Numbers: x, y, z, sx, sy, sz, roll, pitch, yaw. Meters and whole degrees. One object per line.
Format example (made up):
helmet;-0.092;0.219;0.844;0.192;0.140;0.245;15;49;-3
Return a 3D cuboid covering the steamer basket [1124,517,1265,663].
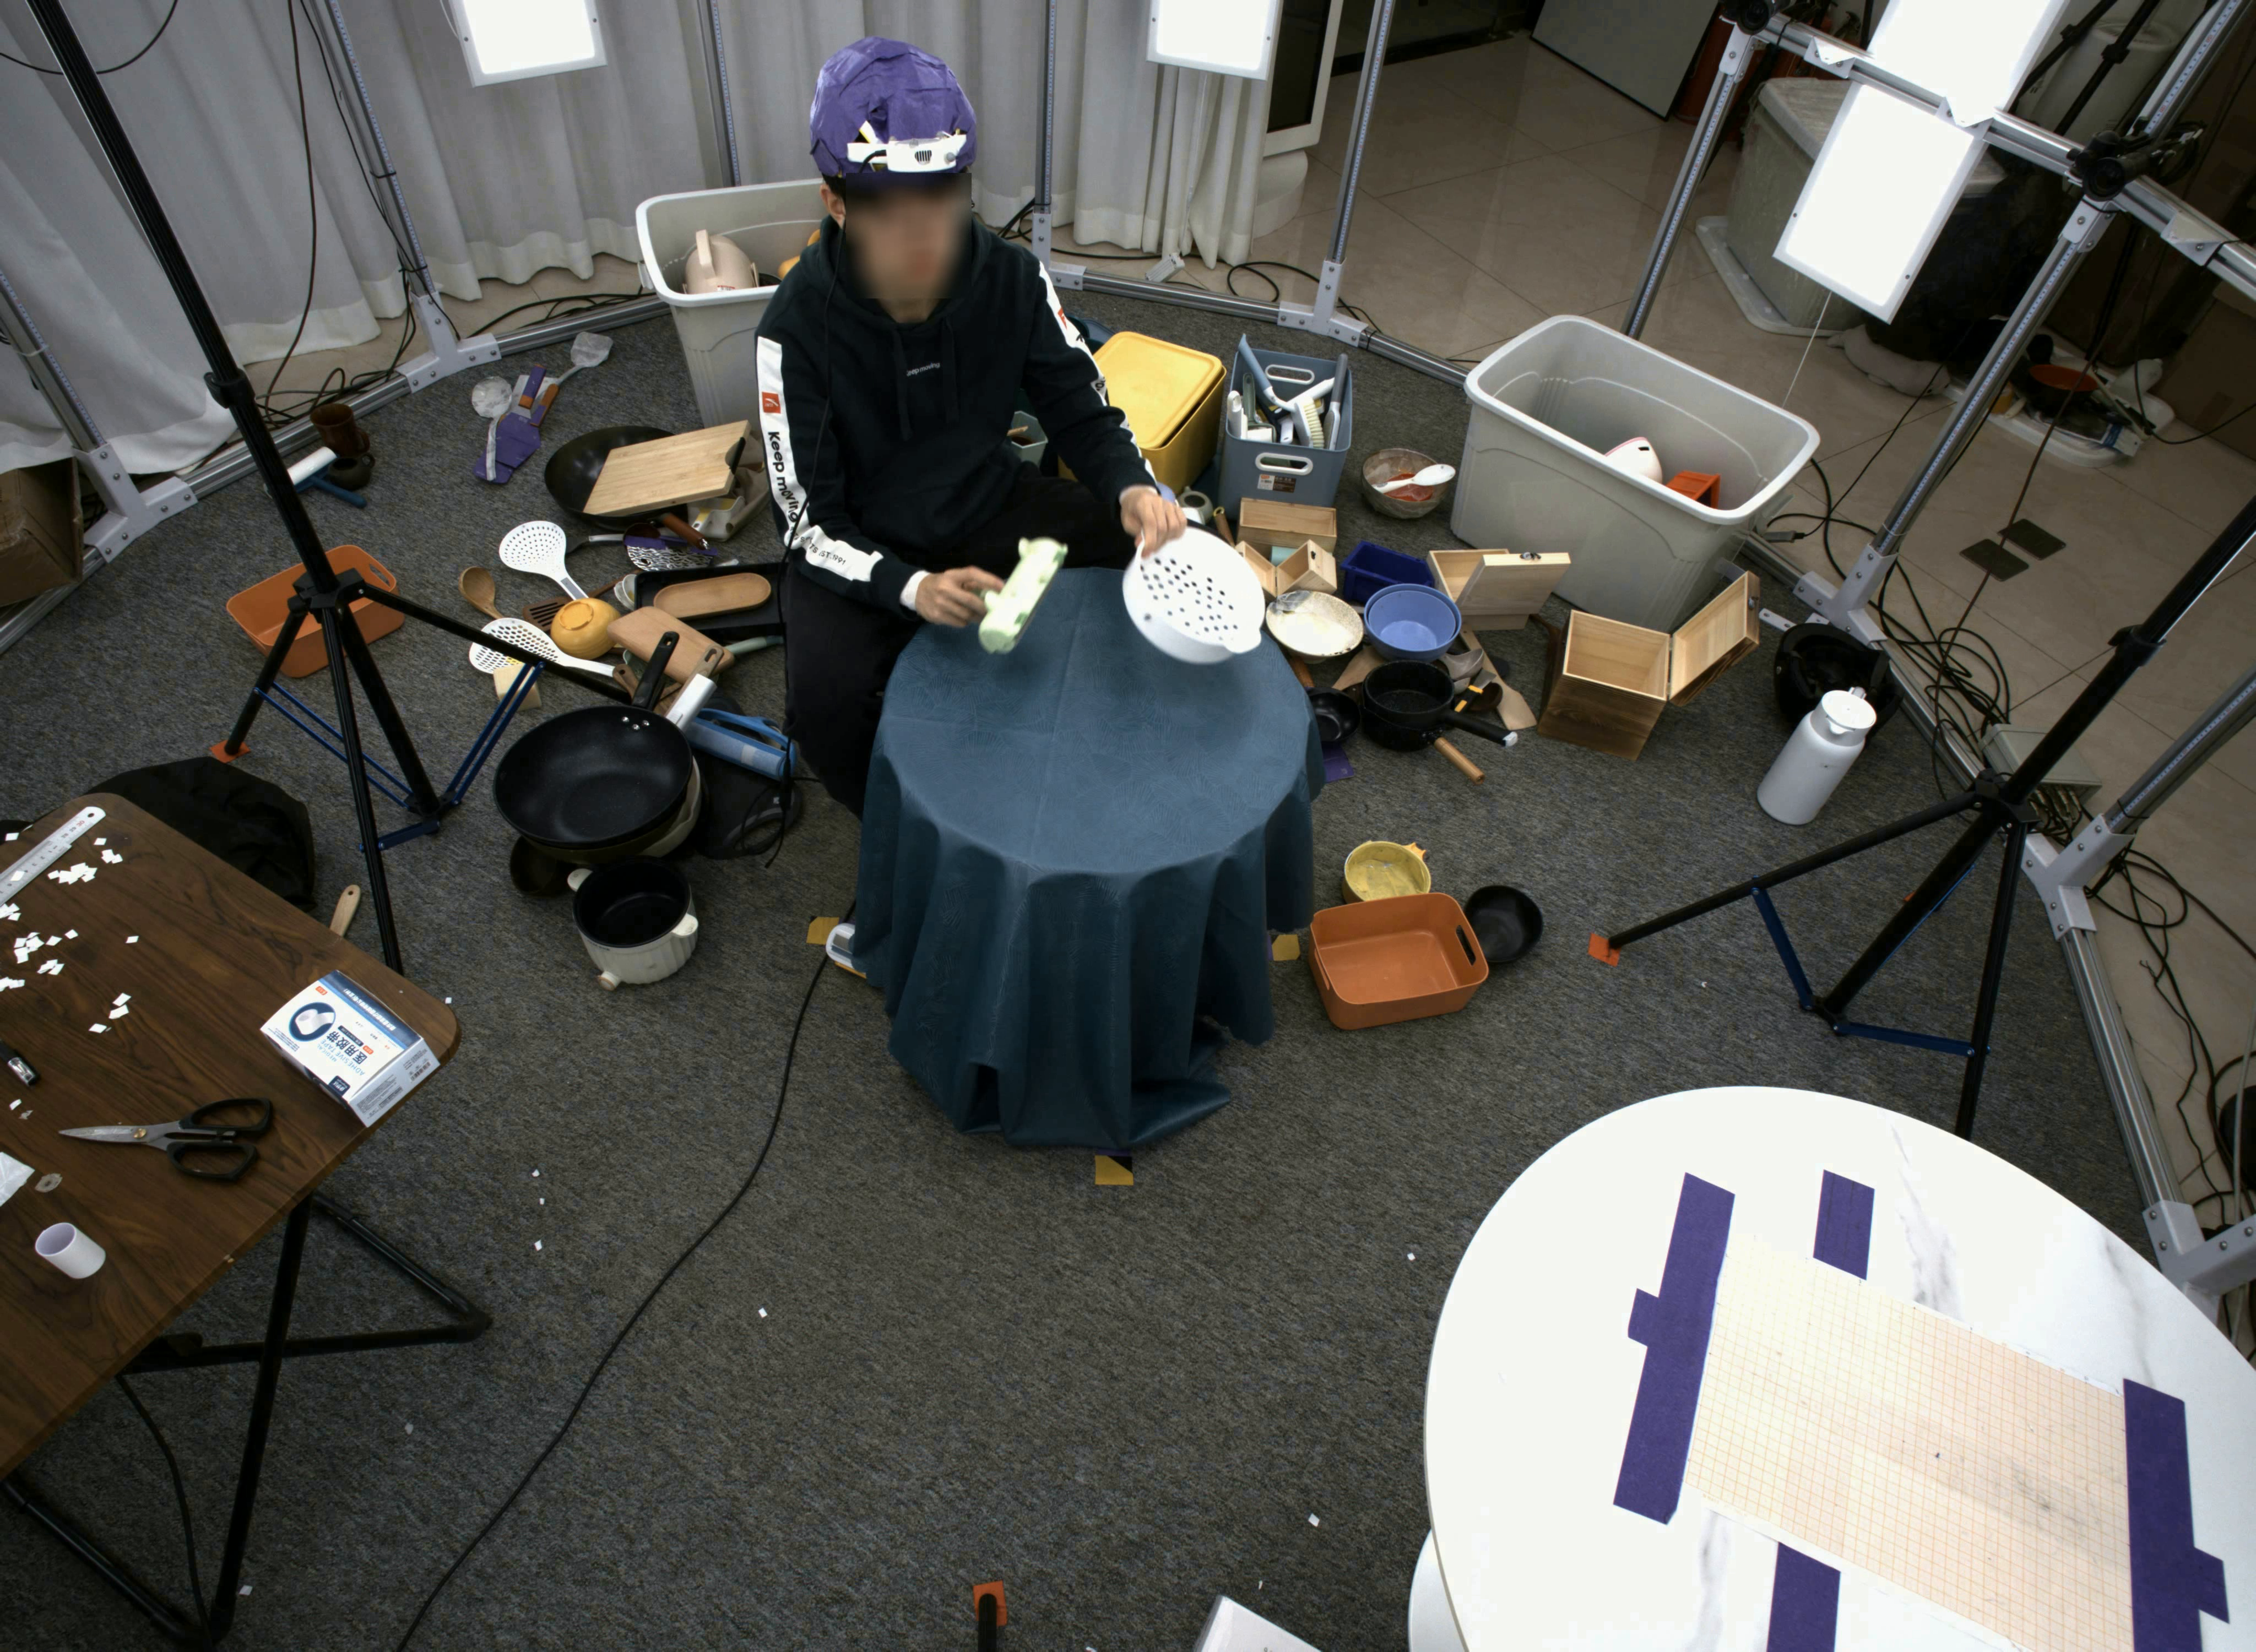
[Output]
steamer basket;0.091;-0.322;1.795;0.203;0.068;0.232;-27;77;-38

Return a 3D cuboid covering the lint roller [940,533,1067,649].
lint roller;-0.195;-0.334;1.794;0.184;0.080;0.202;3;49;26
